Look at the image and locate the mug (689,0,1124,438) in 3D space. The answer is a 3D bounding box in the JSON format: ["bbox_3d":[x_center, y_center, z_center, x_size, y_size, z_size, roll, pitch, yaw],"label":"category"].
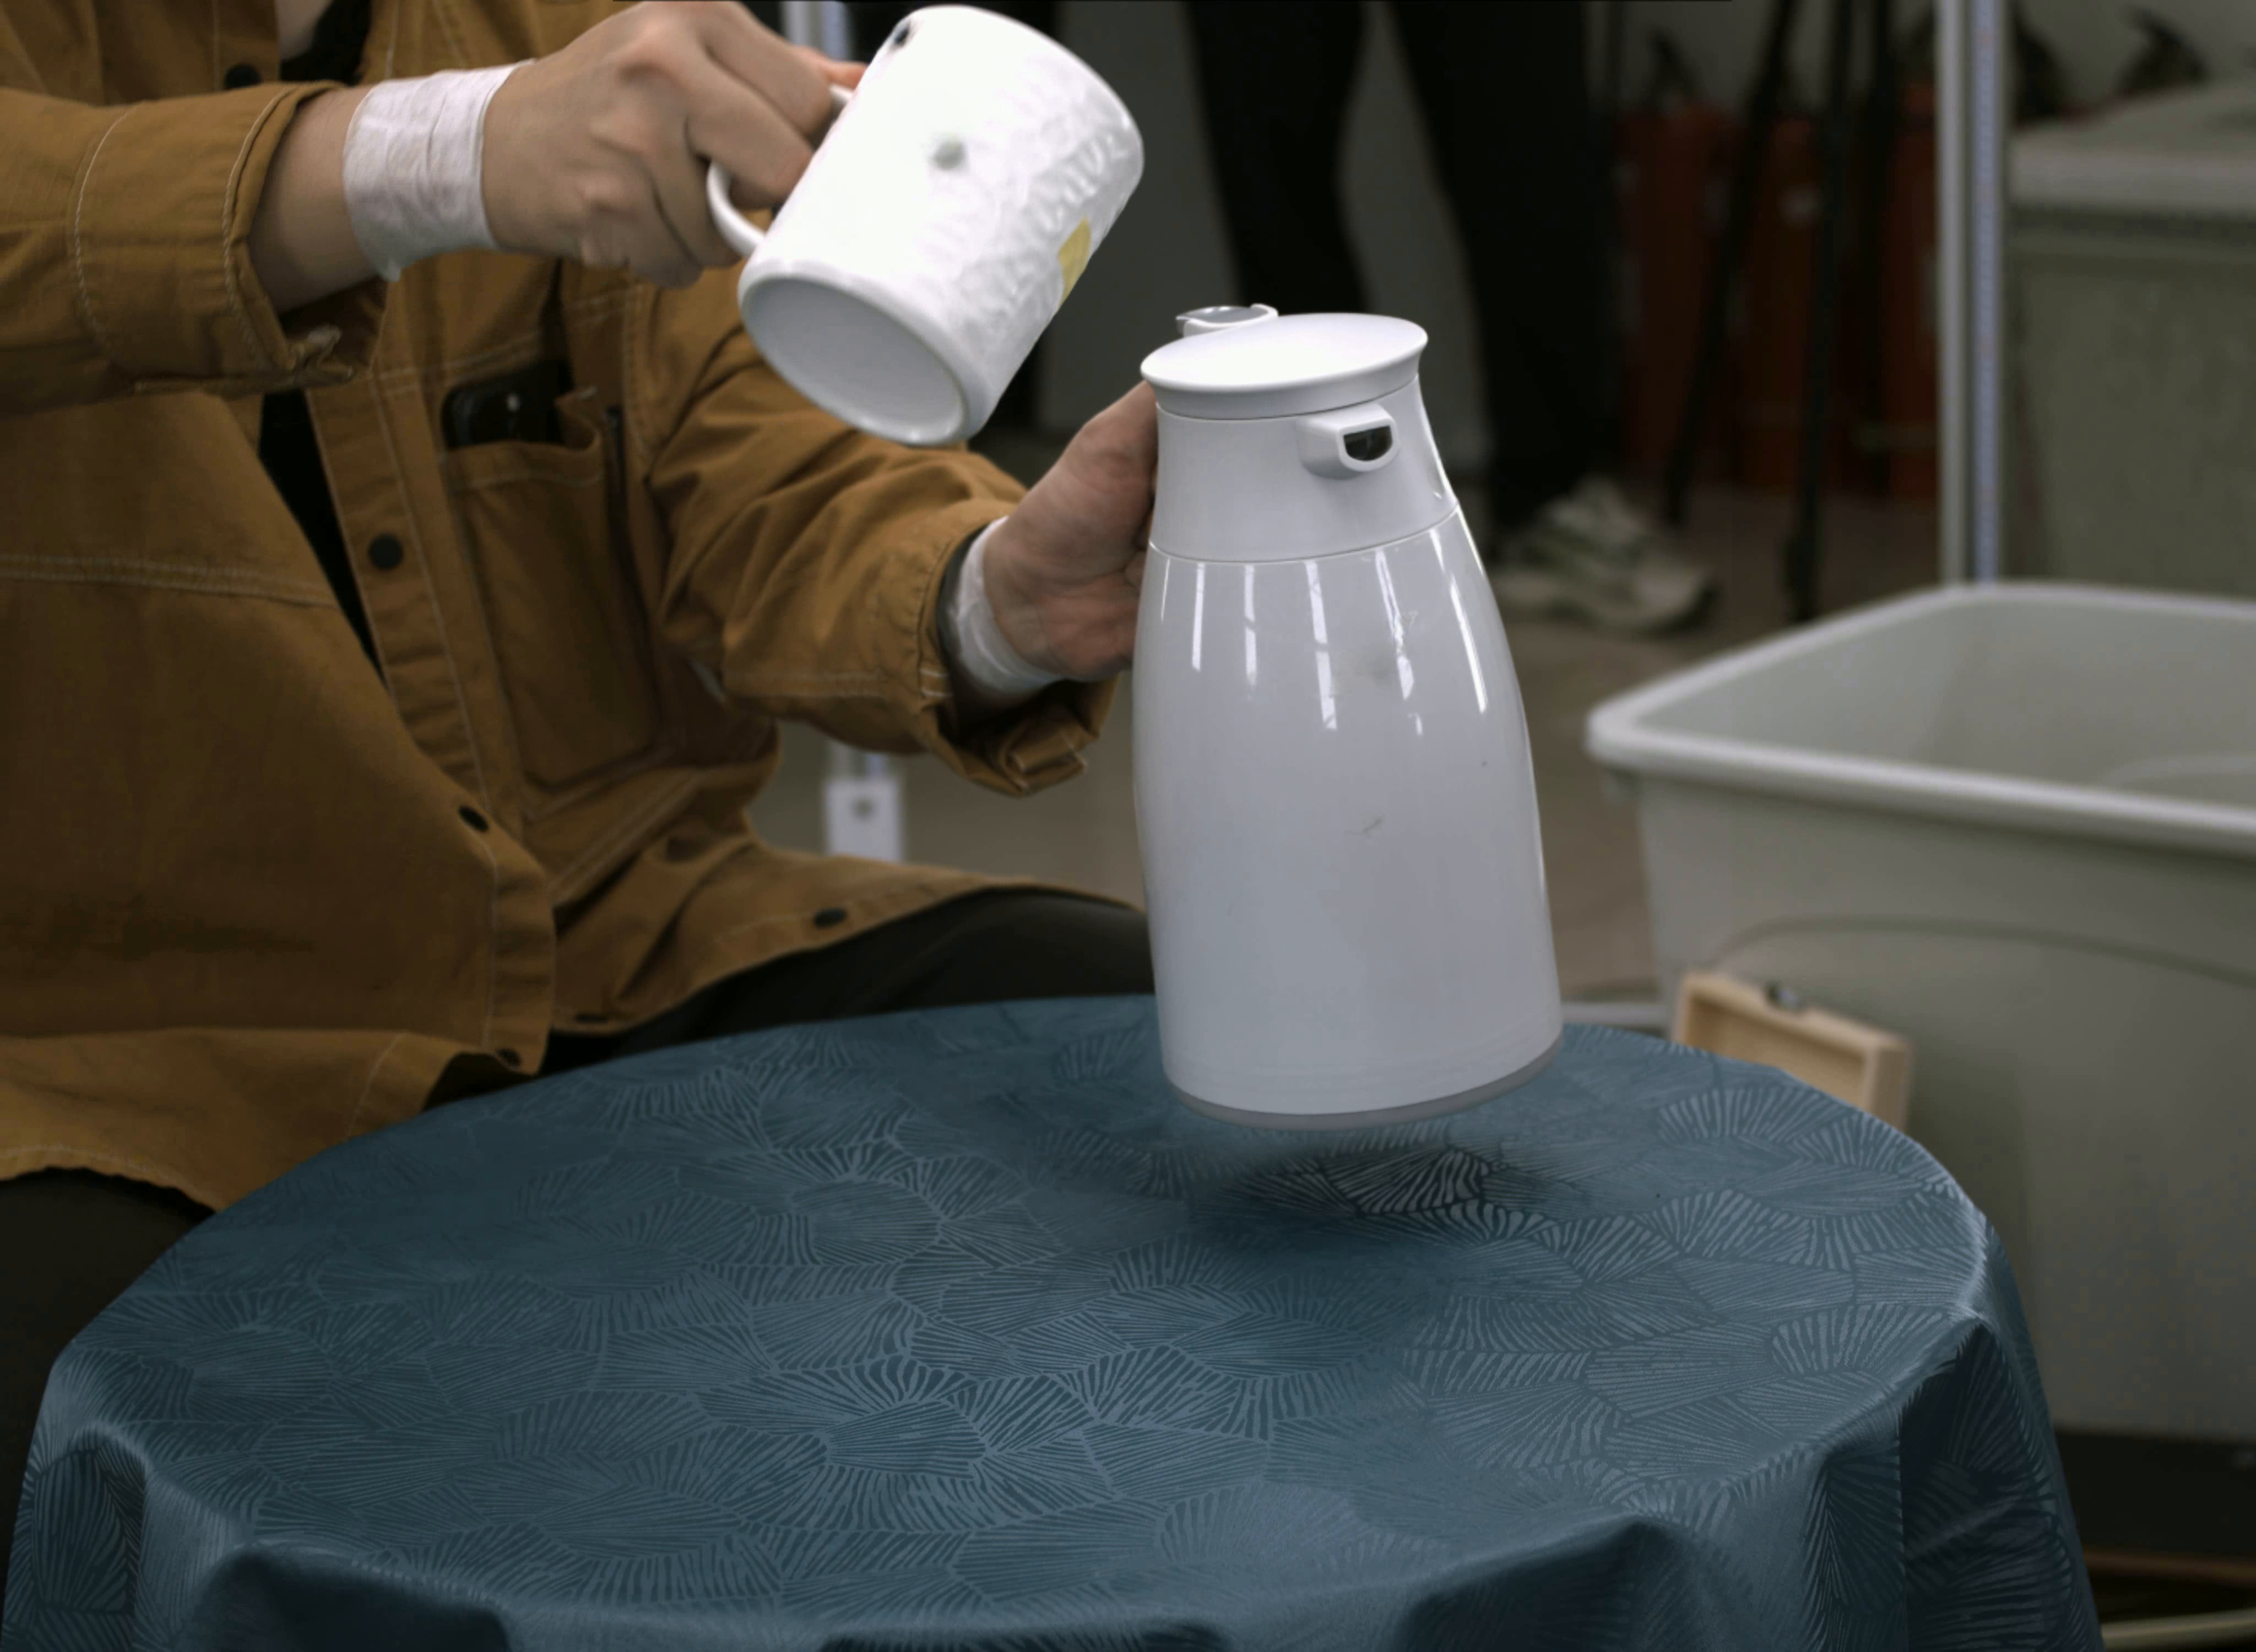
[{"bbox_3d":[-0.074,-0.181,1.577,0.118,0.085,0.102,20,64,20],"label":"mug"}]

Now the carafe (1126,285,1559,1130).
[{"bbox_3d":[0.052,-0.047,1.740,0.130,0.251,0.169,-14,17,-19],"label":"carafe"}]
